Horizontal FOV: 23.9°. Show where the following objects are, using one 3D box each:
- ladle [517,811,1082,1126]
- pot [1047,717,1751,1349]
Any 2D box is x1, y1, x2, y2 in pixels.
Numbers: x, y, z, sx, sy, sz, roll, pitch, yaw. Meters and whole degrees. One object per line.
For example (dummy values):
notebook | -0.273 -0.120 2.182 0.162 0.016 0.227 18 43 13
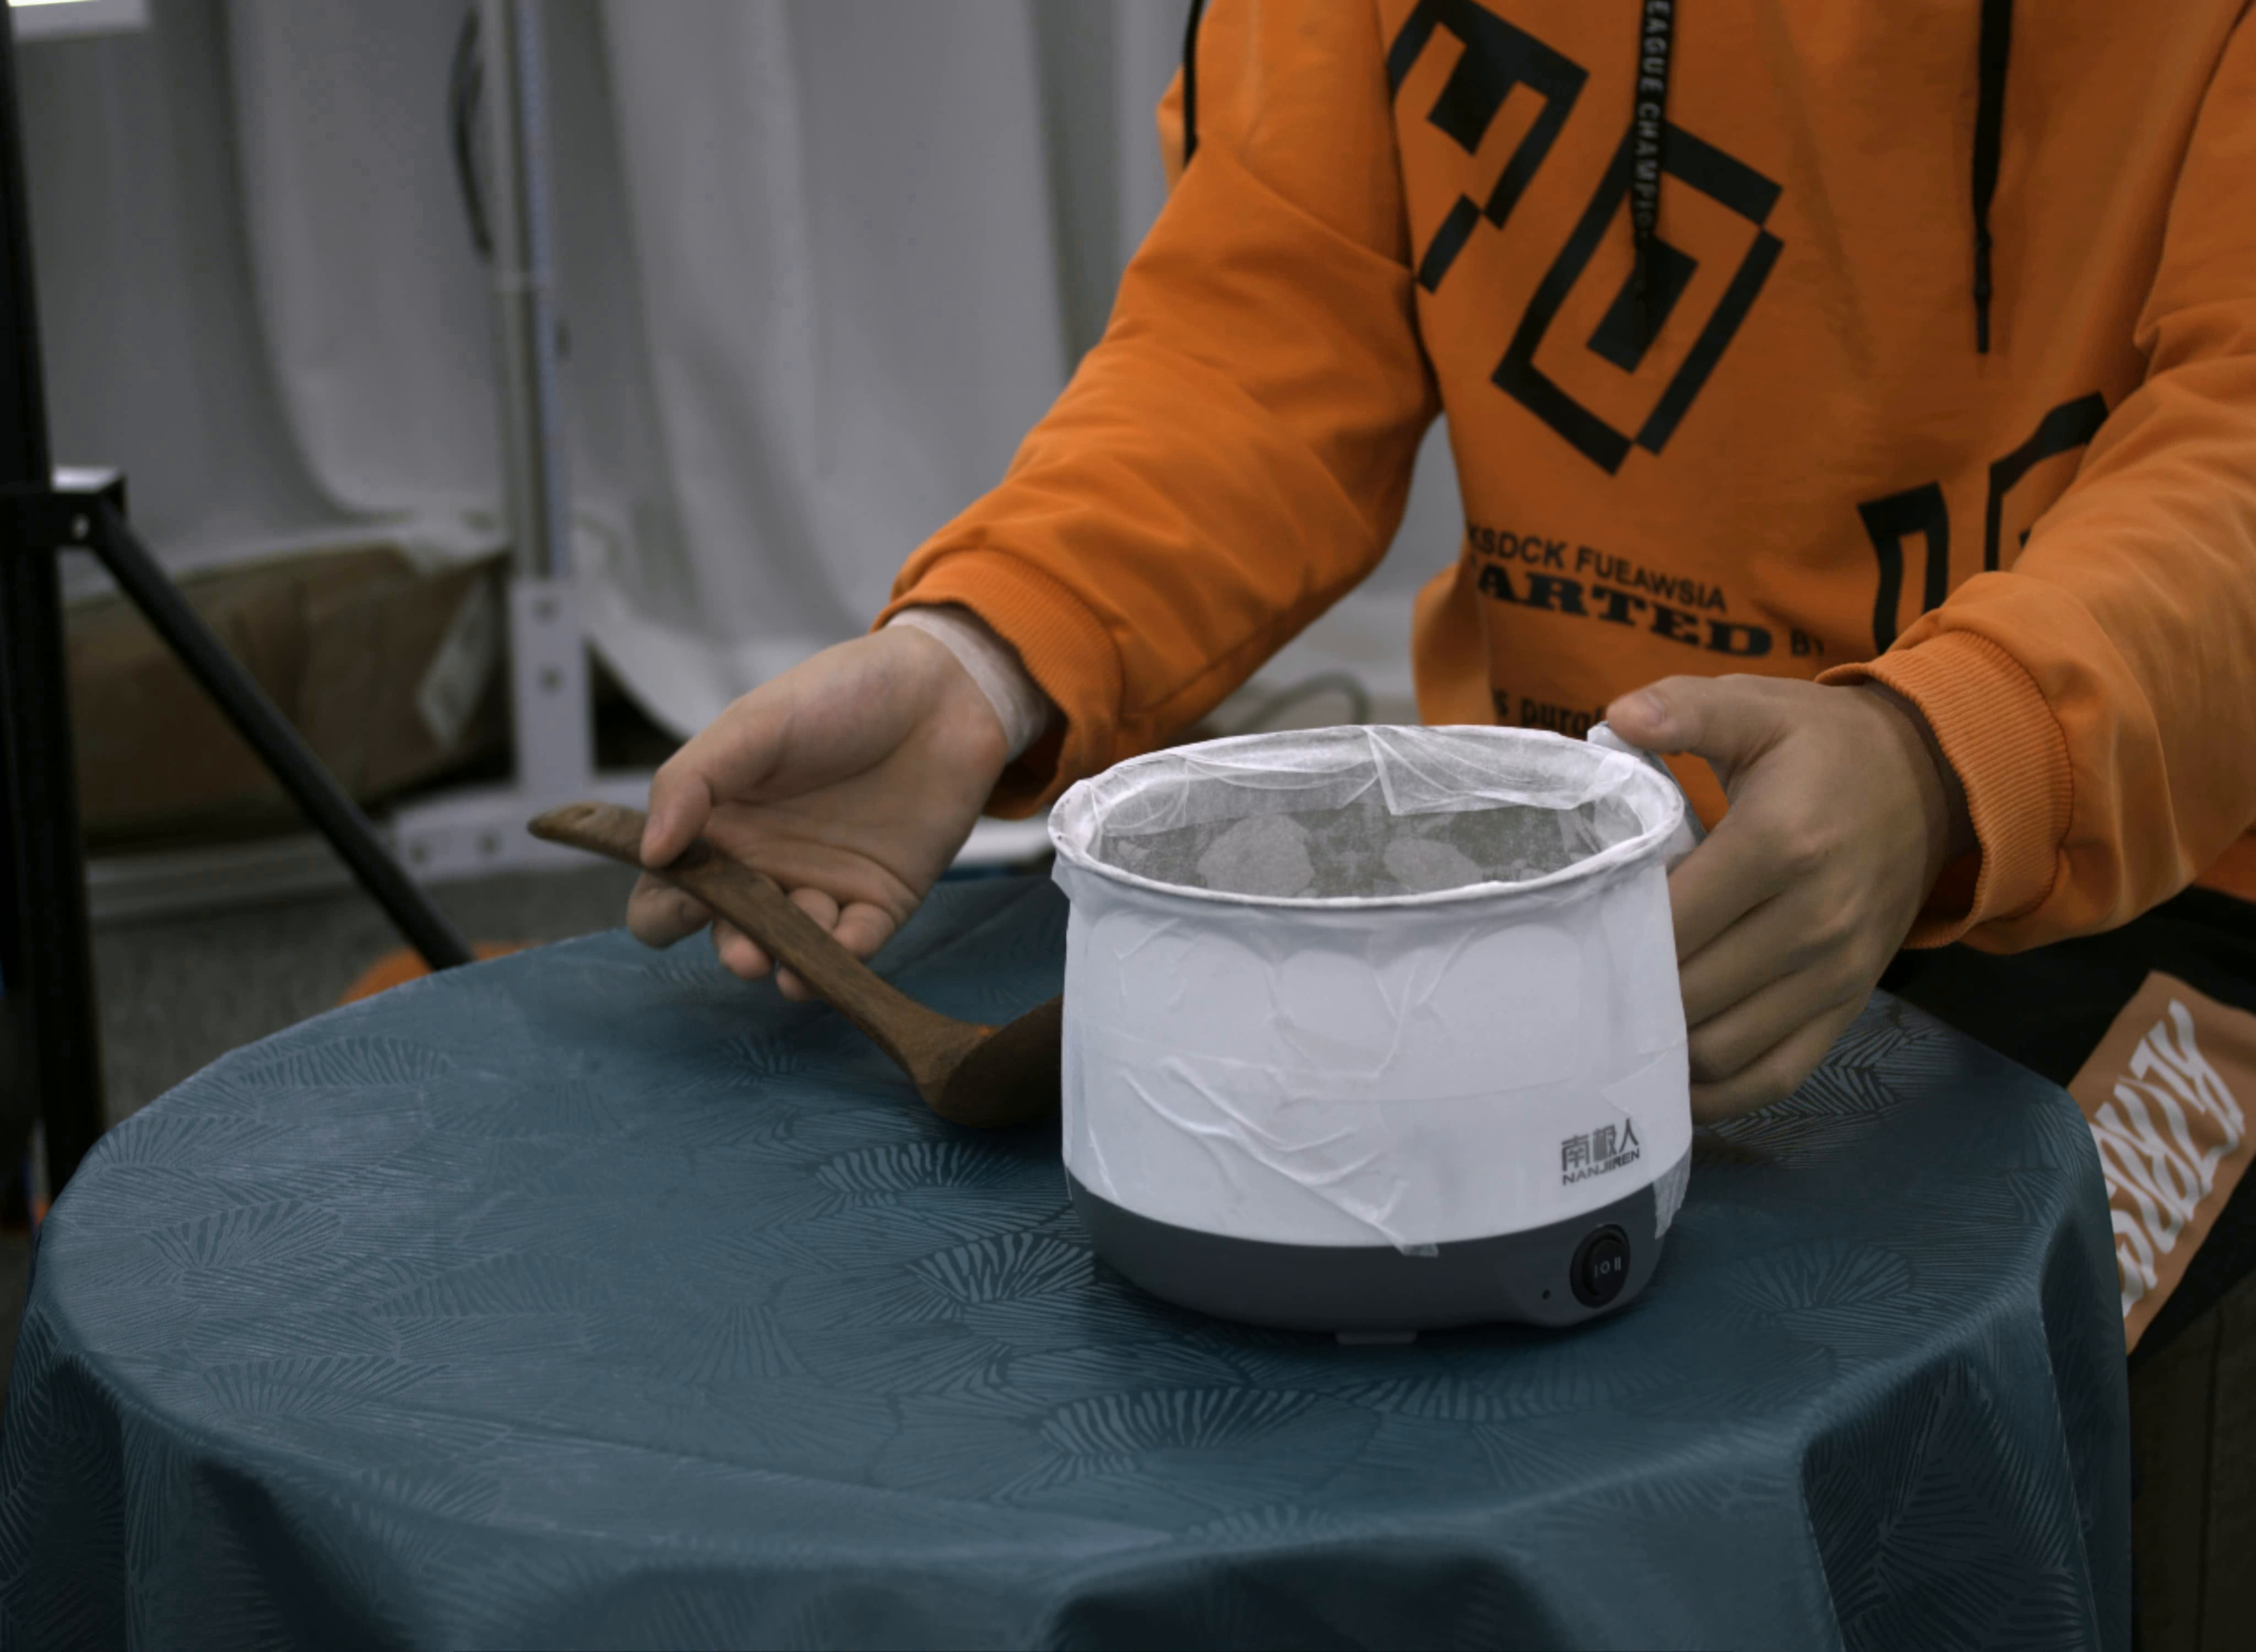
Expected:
ladle | -0.101 0.024 1.681 0.074 0.071 0.280 -17 34 -38
pot | 0.088 0.050 1.495 0.228 0.136 0.183 -17 21 -40
